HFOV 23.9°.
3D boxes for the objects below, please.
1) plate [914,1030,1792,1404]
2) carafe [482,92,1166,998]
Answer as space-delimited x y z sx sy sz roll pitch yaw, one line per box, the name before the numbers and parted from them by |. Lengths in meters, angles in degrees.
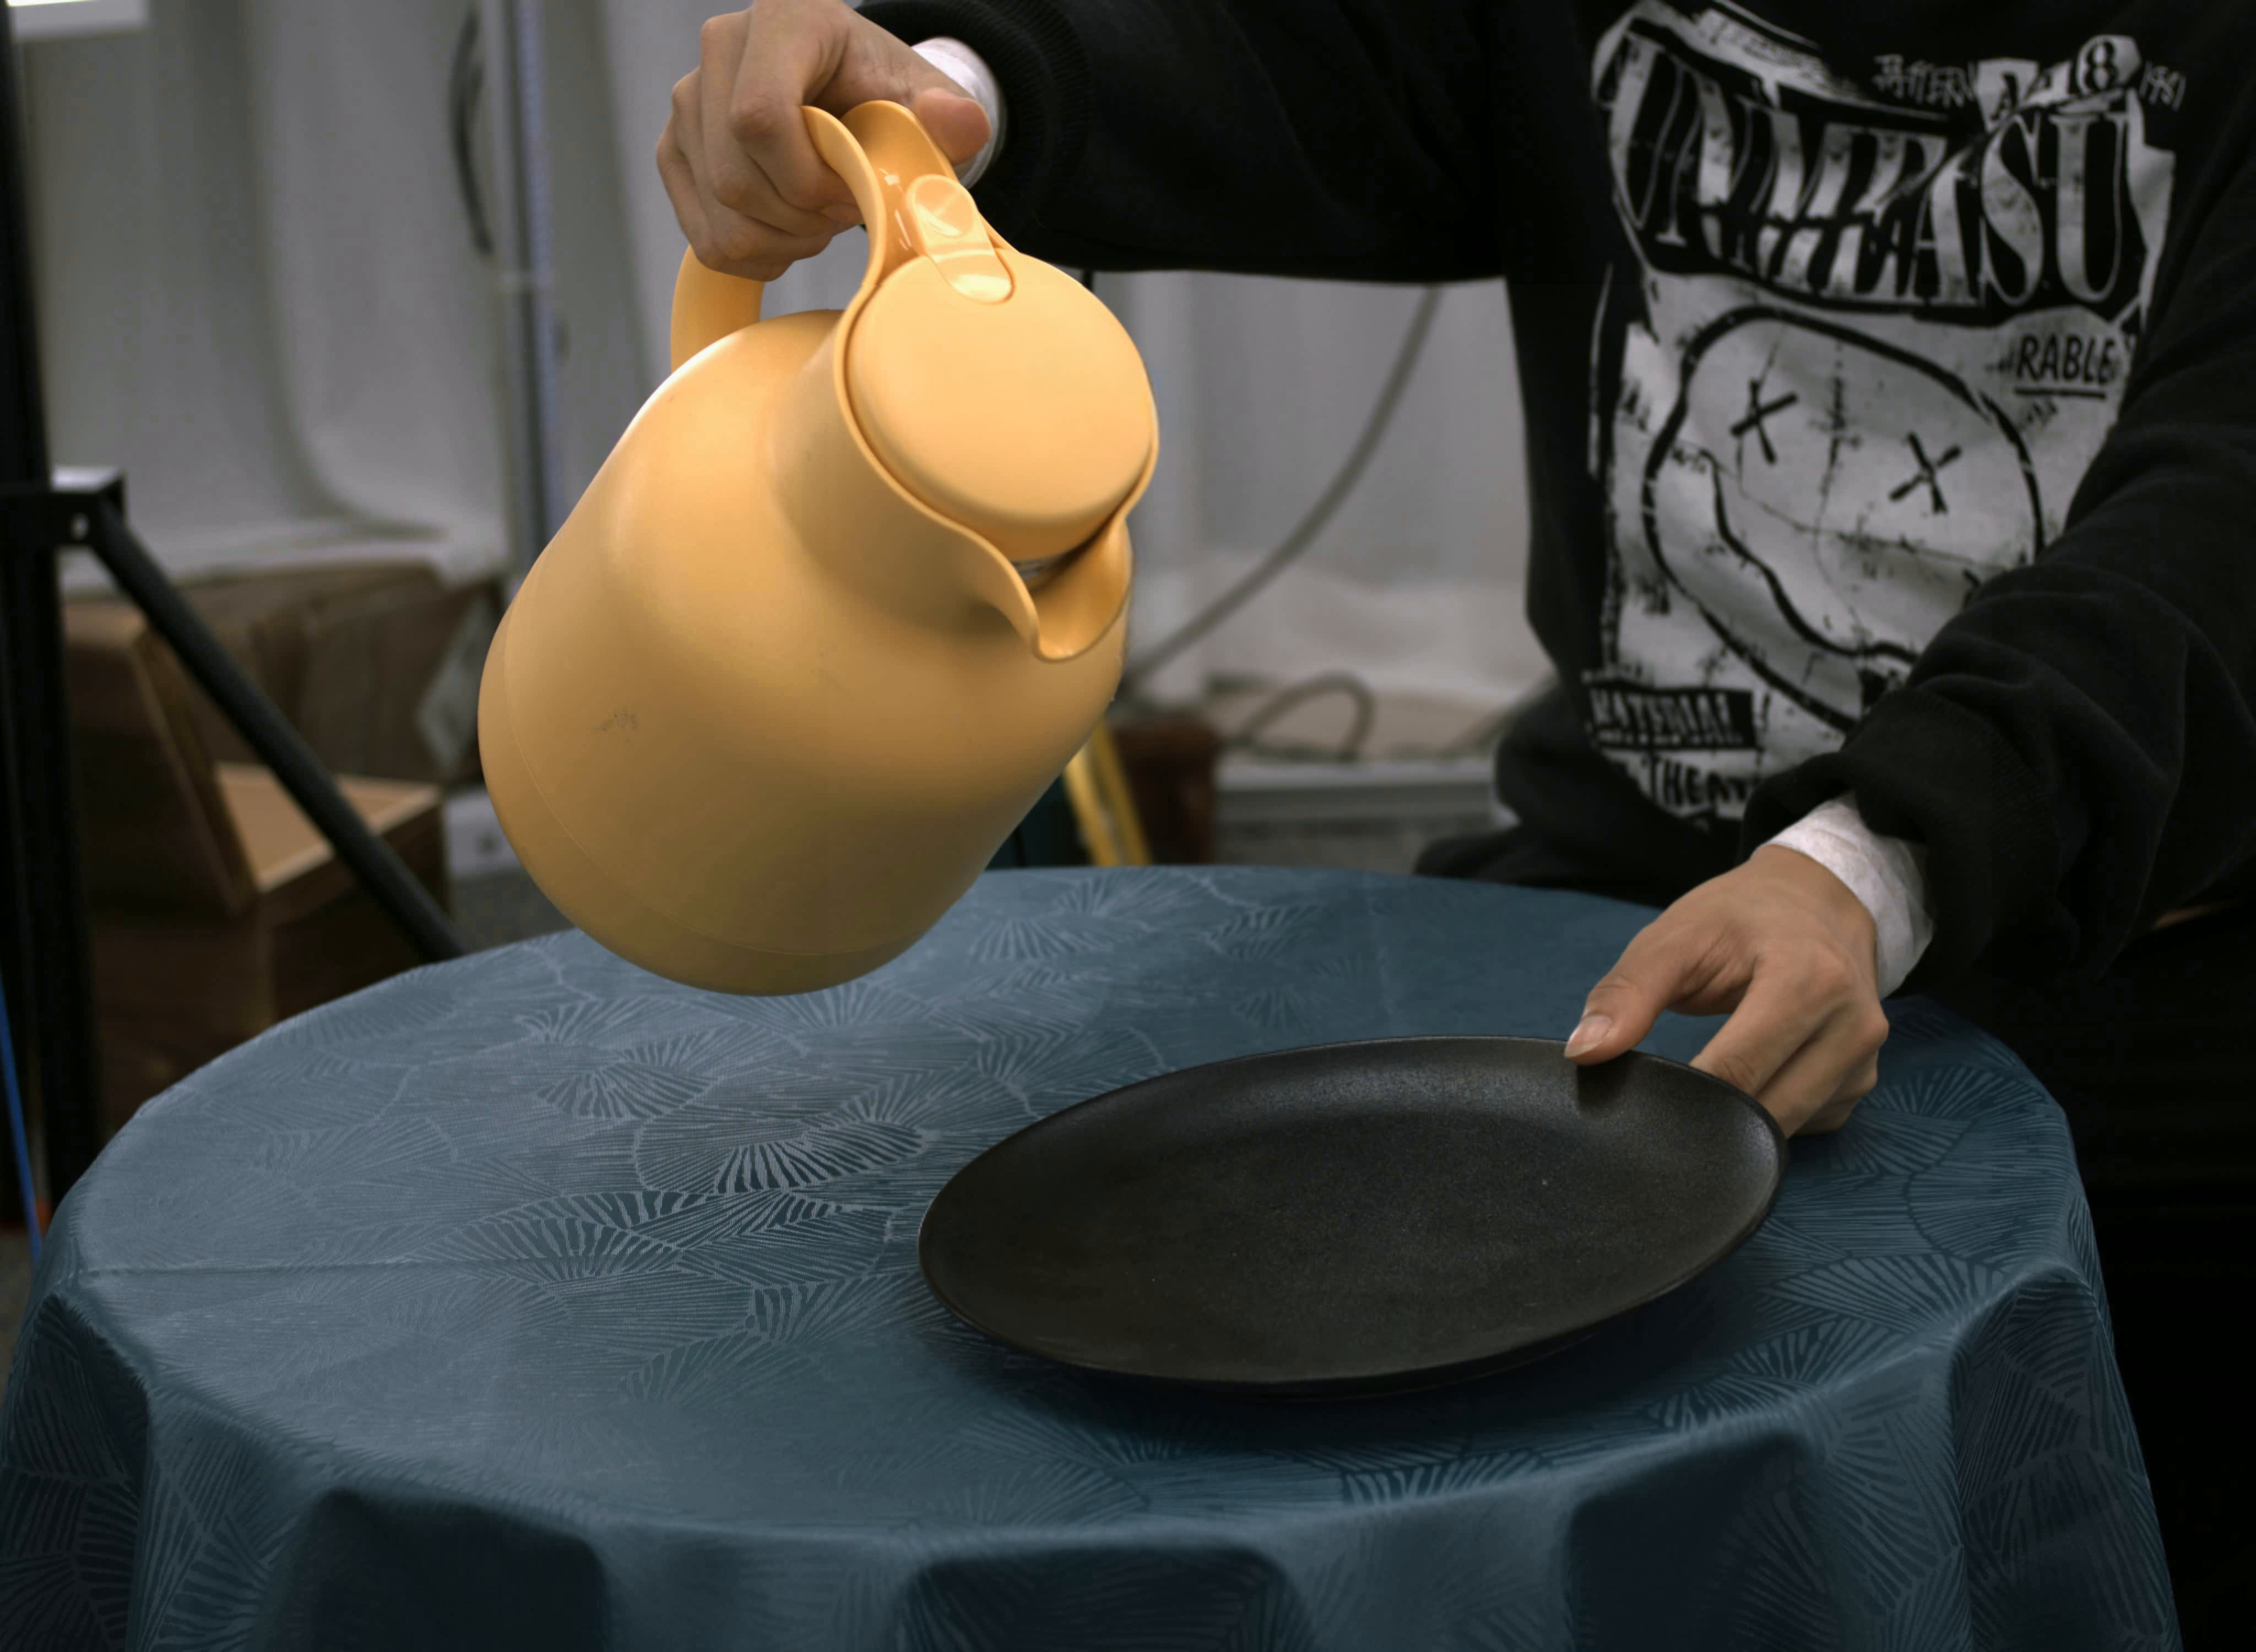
plate | 0.062 0.111 1.460 0.243 0.023 0.246 -7 18 1
carafe | -0.084 -0.085 1.552 0.159 0.205 0.263 -5 -24 -30
